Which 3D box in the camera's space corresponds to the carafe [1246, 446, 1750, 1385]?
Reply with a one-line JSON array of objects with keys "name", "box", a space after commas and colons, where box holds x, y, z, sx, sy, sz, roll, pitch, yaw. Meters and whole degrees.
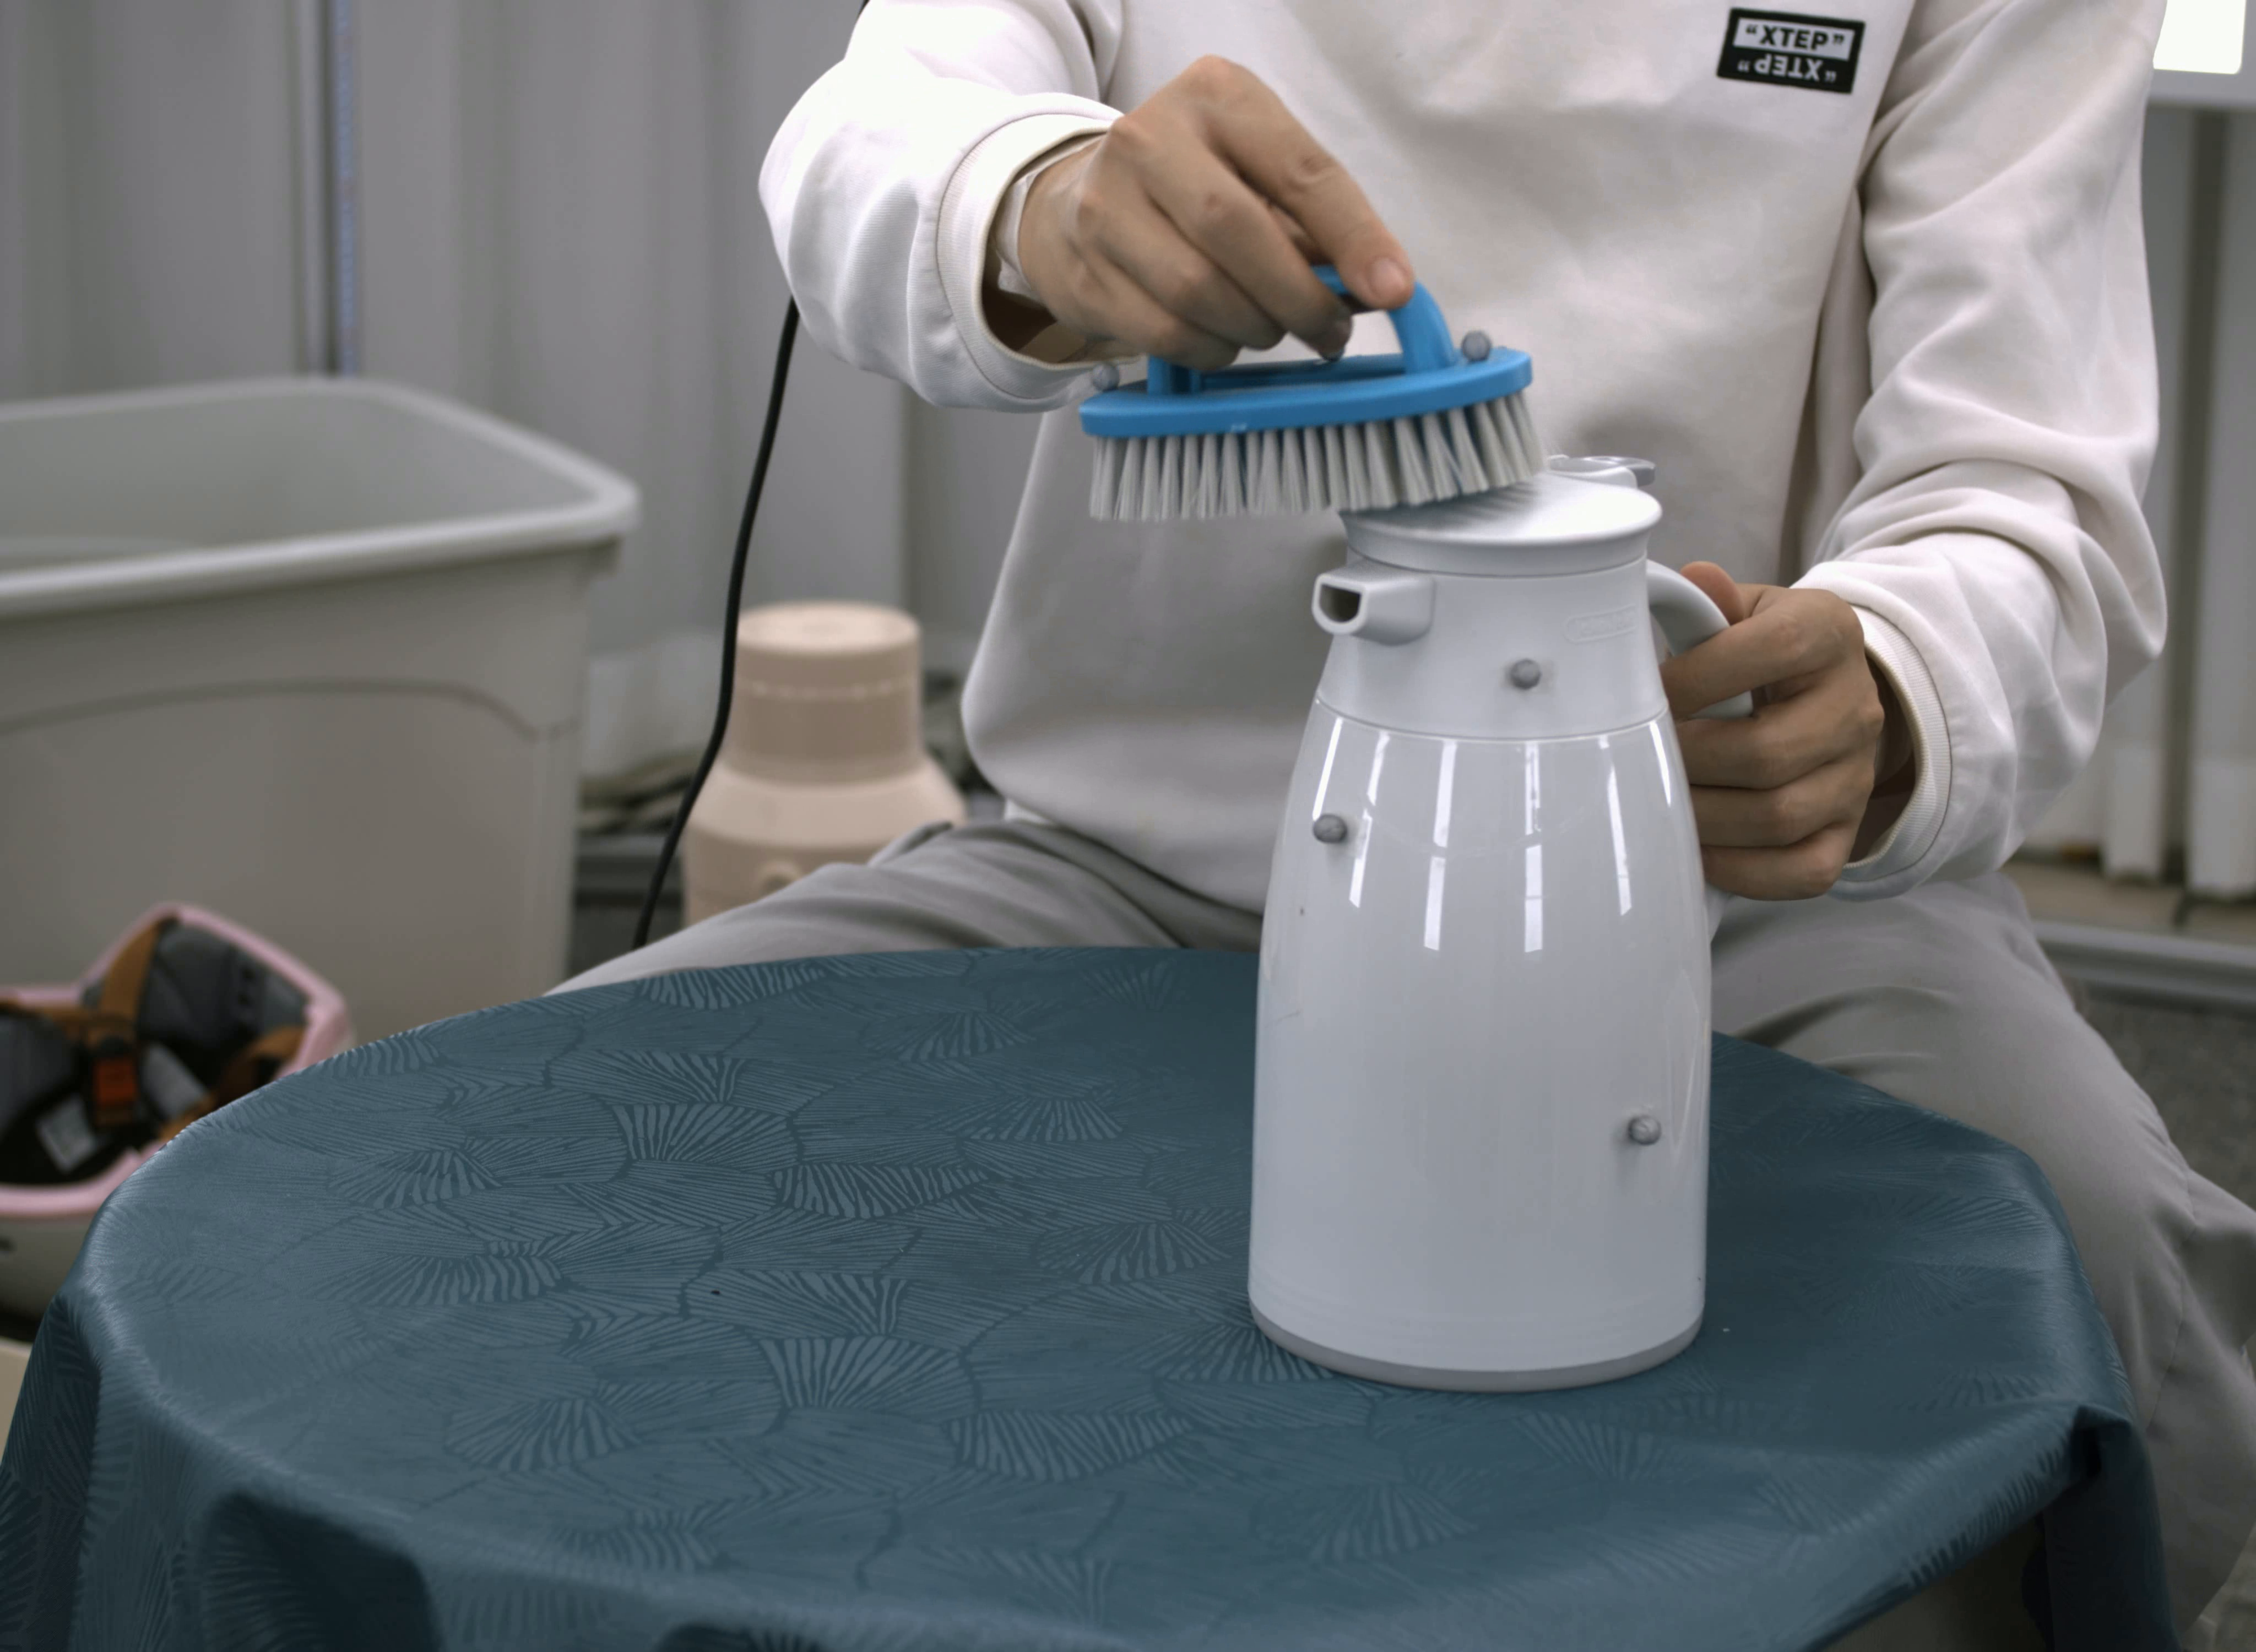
[{"name": "carafe", "box": [0.115, 0.017, 1.511, 0.168, 0.250, 0.131, -14, 21, -43]}]

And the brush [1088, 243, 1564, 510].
[{"name": "brush", "box": [0.050, -0.129, 1.470, 0.140, 0.064, 0.084, -2, 16, 35]}]
